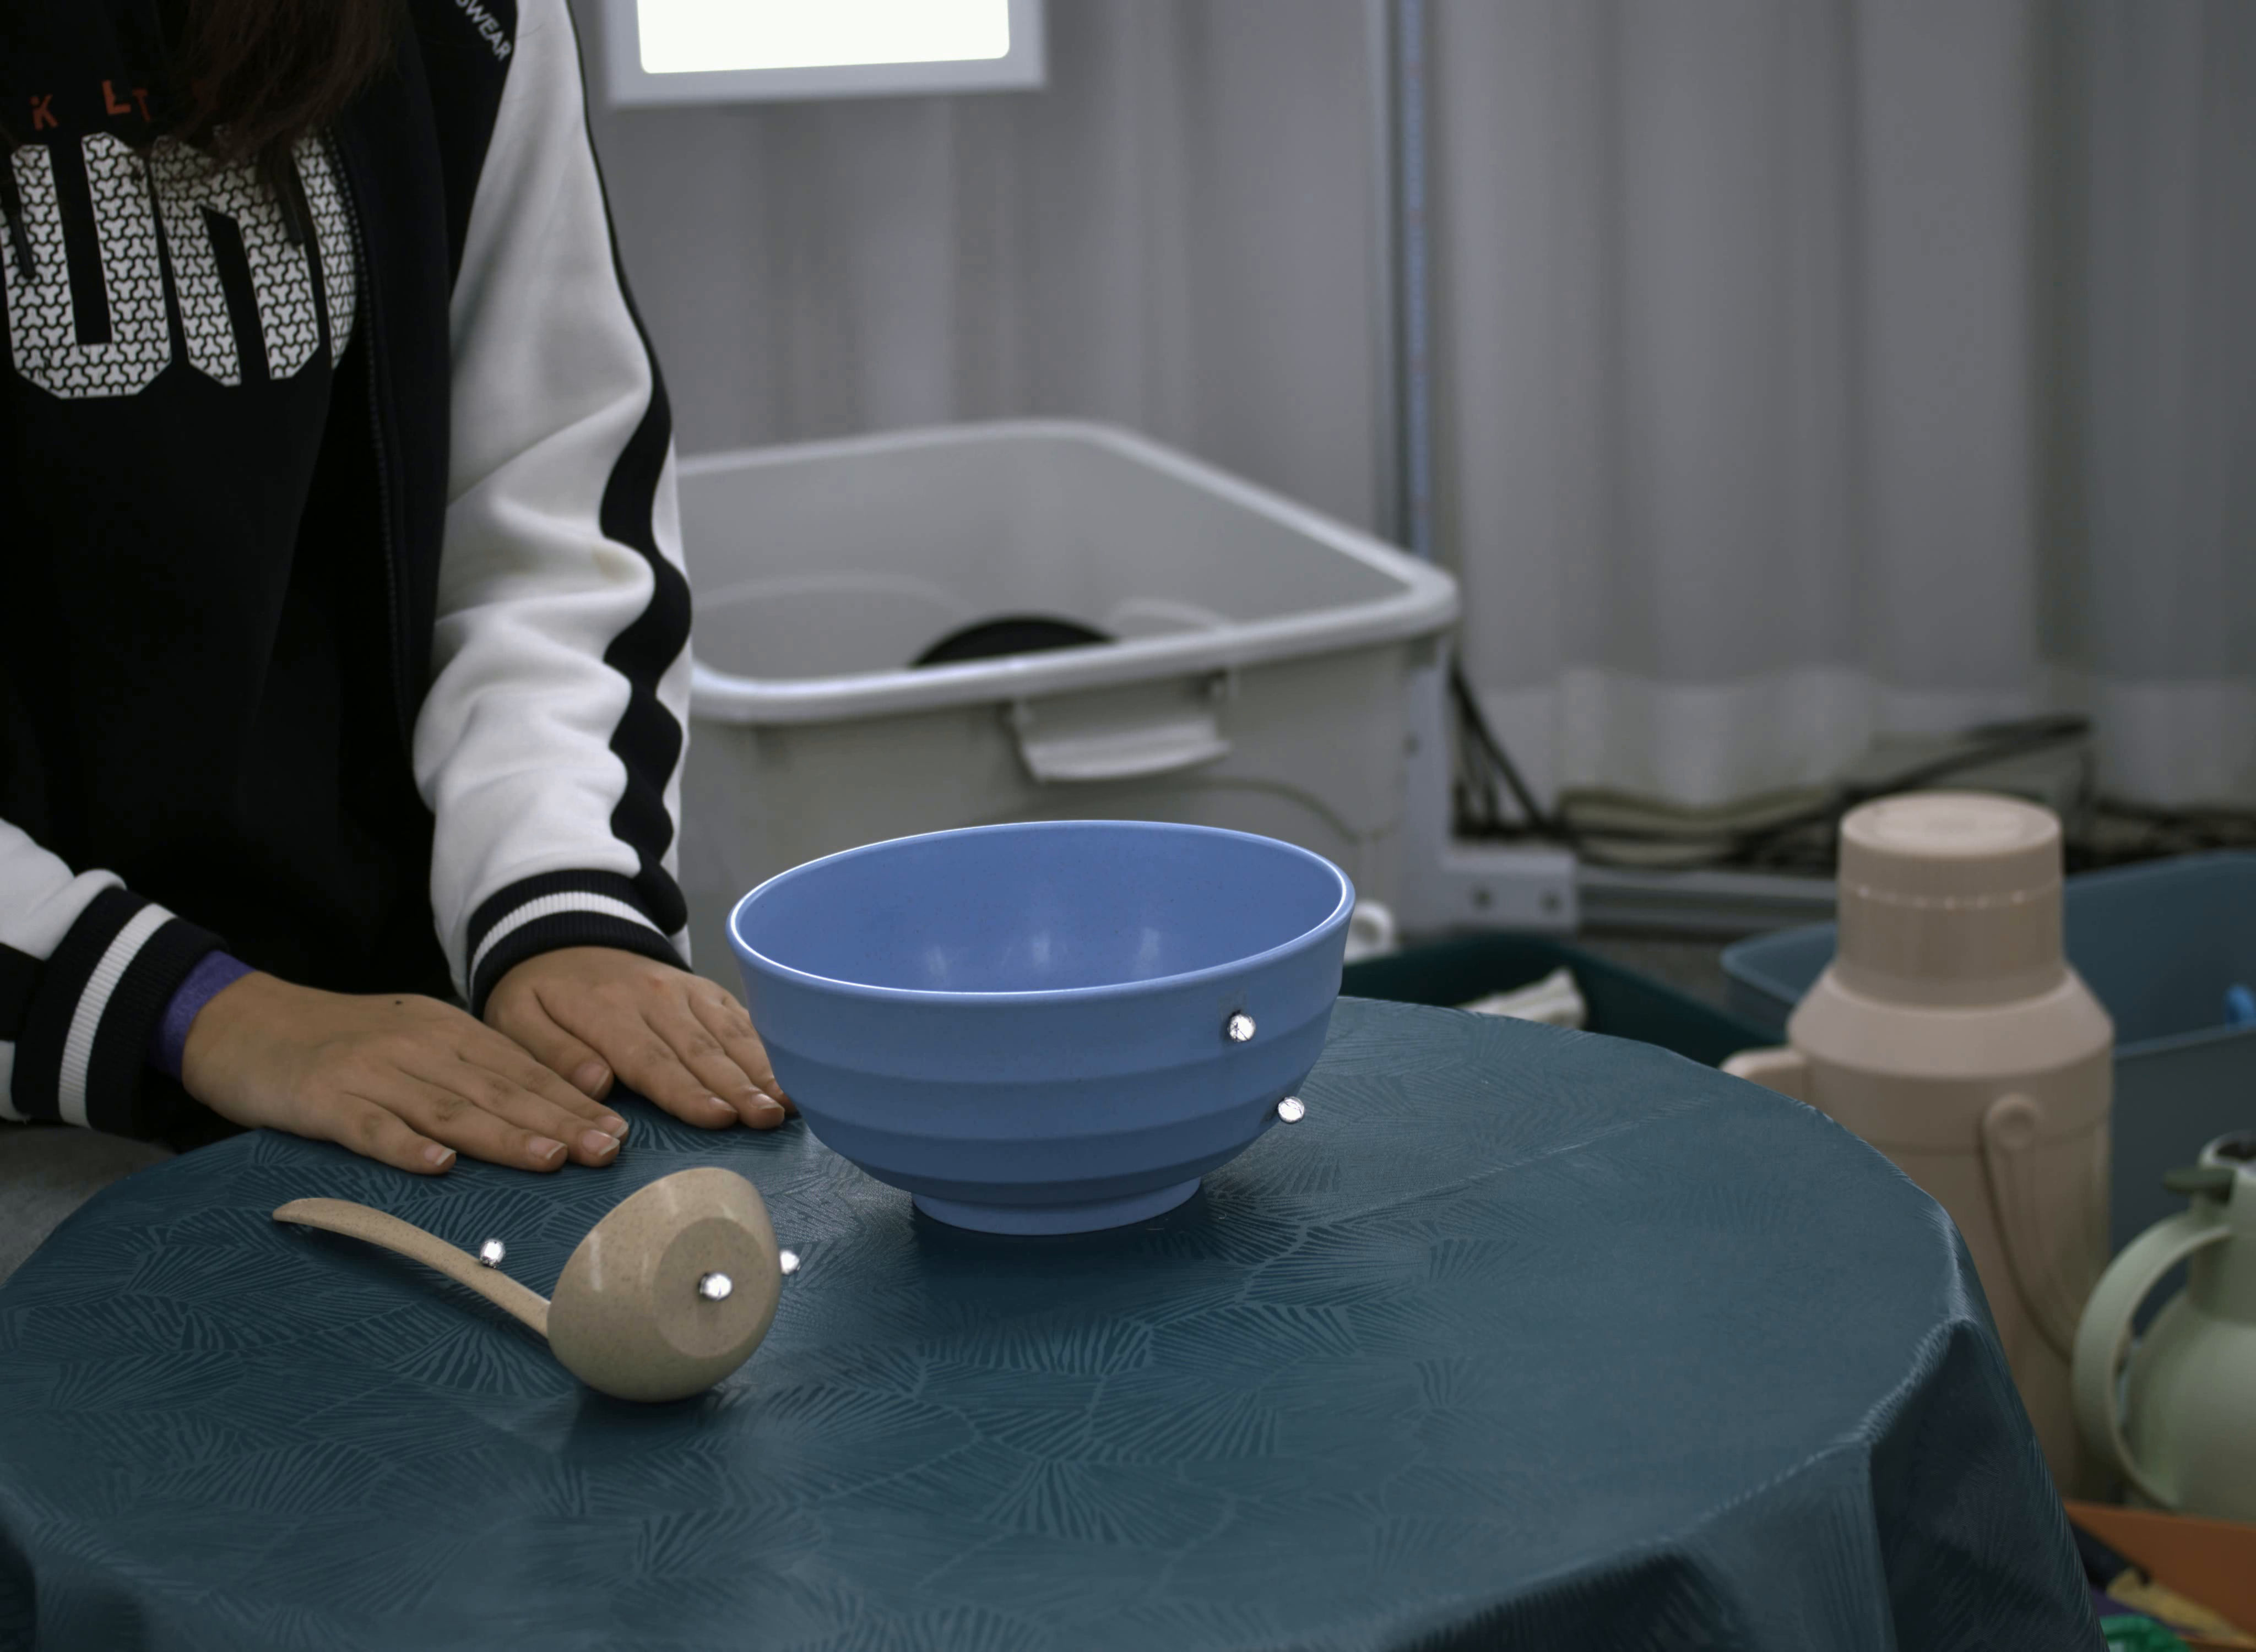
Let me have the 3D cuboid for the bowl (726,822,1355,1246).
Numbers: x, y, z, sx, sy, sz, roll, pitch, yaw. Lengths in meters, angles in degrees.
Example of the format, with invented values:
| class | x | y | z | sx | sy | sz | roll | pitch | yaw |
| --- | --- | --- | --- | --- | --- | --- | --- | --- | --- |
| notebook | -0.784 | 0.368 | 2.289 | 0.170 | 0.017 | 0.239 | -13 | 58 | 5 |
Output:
| class | x | y | z | sx | sy | sz | roll | pitch | yaw |
| --- | --- | --- | --- | --- | --- | --- | --- | --- | --- |
| bowl | -0.024 | 0.071 | 1.710 | 0.196 | 0.095 | 0.198 | -4 | 15 | 1 |

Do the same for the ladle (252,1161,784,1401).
| class | x | y | z | sx | sy | sz | roll | pitch | yaw |
| --- | --- | --- | --- | --- | --- | --- | --- | --- | --- |
| ladle | -0.193 | 0.111 | 1.624 | 0.072 | 0.072 | 0.256 | -13 | 17 | -37 |
